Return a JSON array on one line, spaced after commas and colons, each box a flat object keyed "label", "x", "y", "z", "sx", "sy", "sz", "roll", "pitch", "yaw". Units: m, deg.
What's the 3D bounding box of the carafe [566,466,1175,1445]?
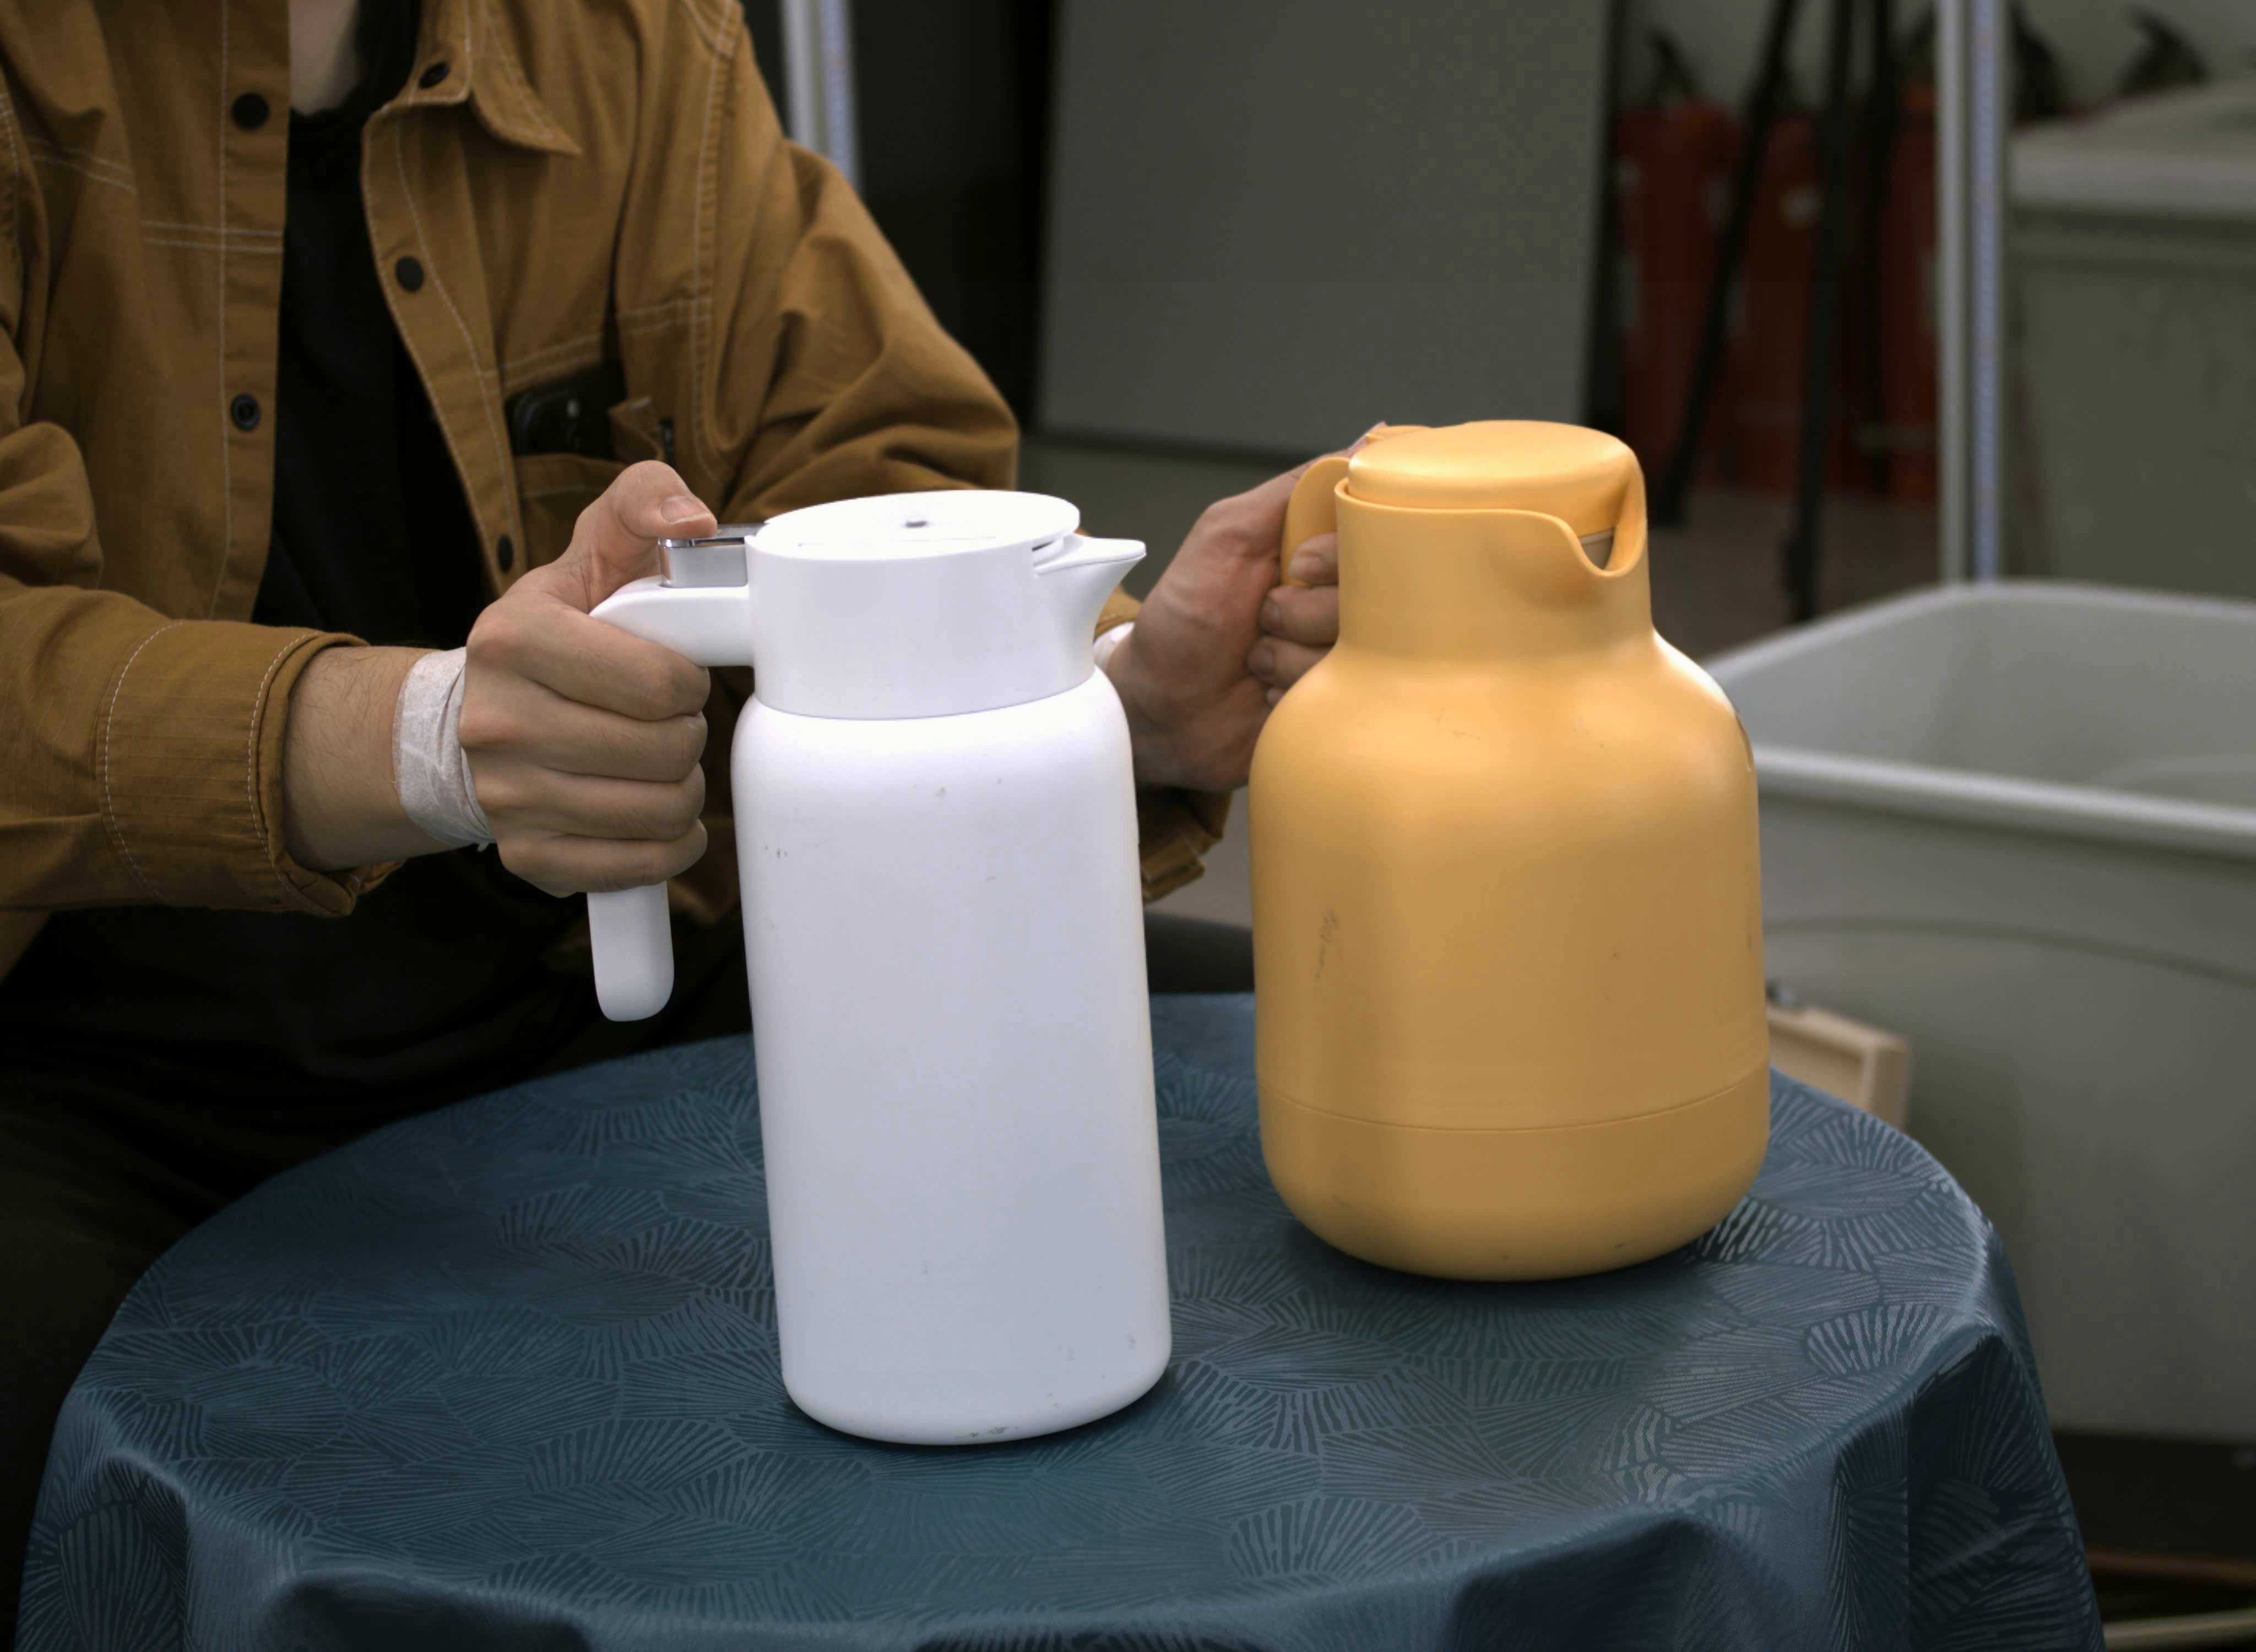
[{"label": "carafe", "x": -0.070, "y": 0.037, "z": 1.571, "sx": 0.172, "sy": 0.271, "sz": 0.123, "roll": -3, "pitch": 15, "yaw": 12}]

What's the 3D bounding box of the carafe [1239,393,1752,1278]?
[{"label": "carafe", "x": 0.107, "y": -0.005, "z": 1.697, "sx": 0.160, "sy": 0.263, "sz": 0.204, "roll": -6, "pitch": 15, "yaw": -22}]
